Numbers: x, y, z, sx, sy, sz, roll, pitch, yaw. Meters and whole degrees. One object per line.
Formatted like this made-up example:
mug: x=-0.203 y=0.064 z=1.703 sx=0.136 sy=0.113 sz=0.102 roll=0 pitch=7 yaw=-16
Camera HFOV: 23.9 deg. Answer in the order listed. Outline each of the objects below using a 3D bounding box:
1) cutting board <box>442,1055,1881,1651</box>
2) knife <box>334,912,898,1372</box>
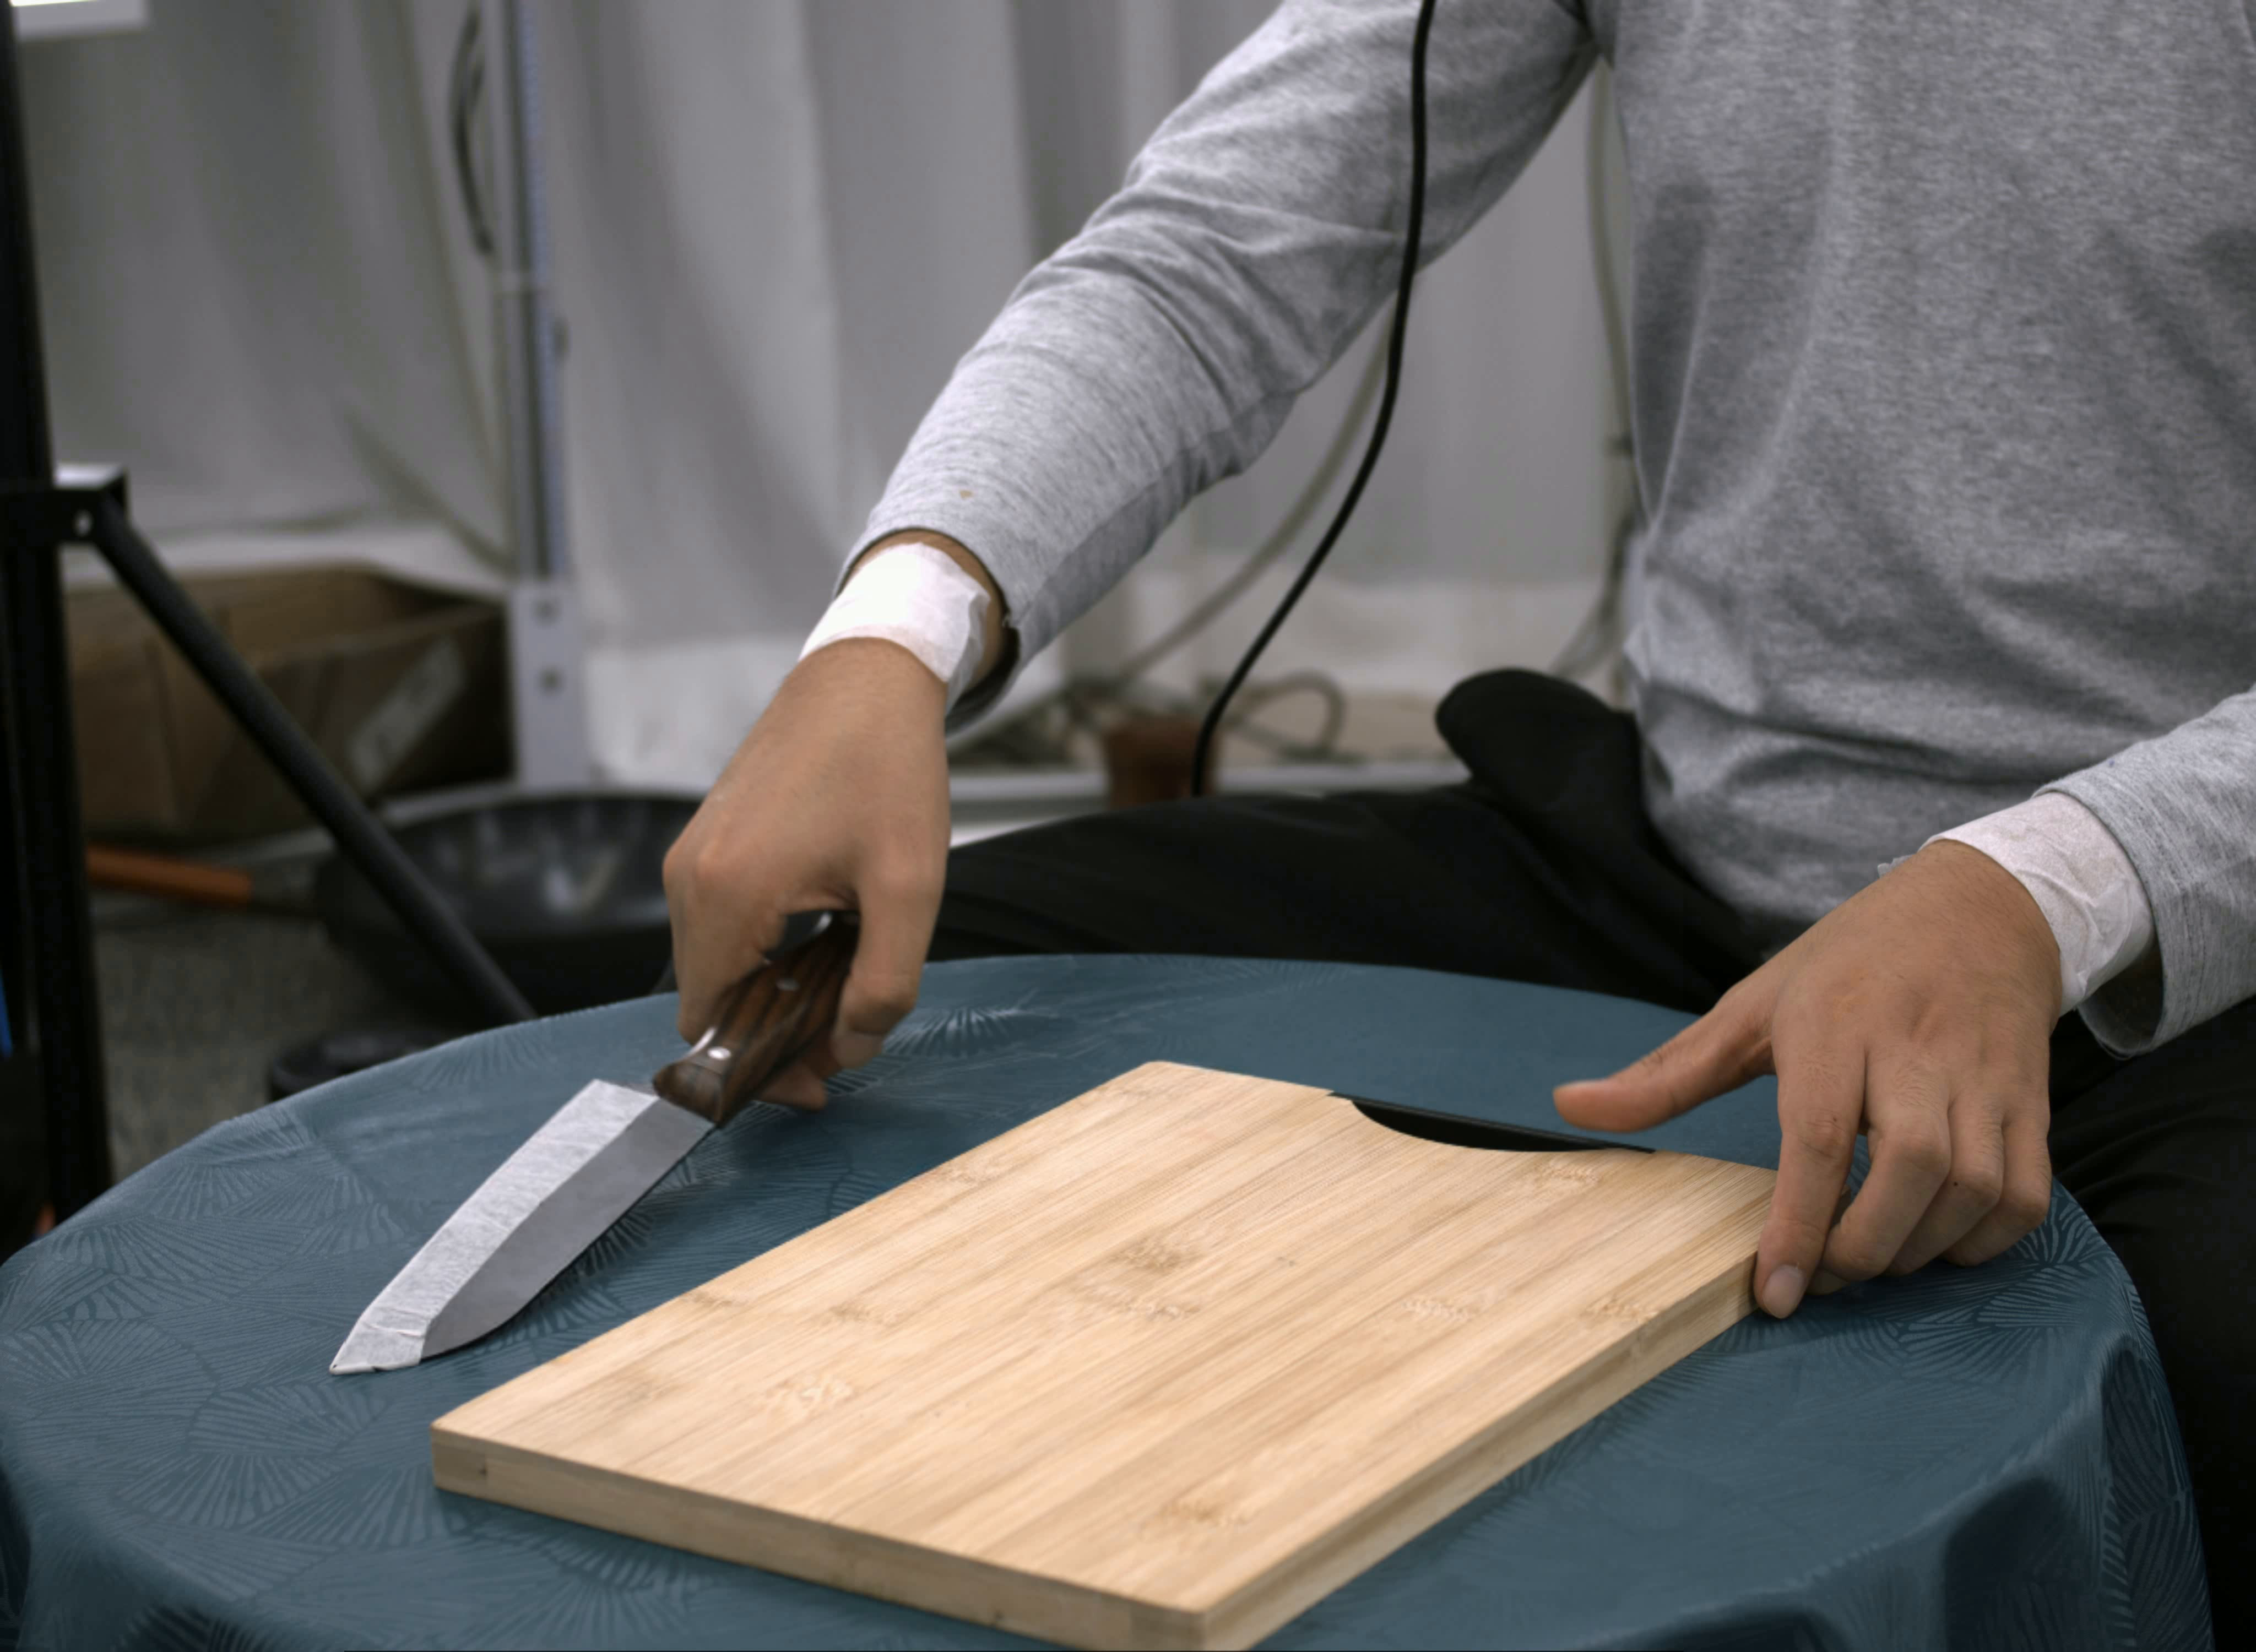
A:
cutting board: x=0.017 y=0.136 z=1.433 sx=0.256 sy=0.023 sz=0.342 roll=9 pitch=19 yaw=33
knife: x=-0.145 y=0.091 z=1.559 sx=0.051 sy=0.020 sz=0.285 roll=14 pitch=30 yaw=25
